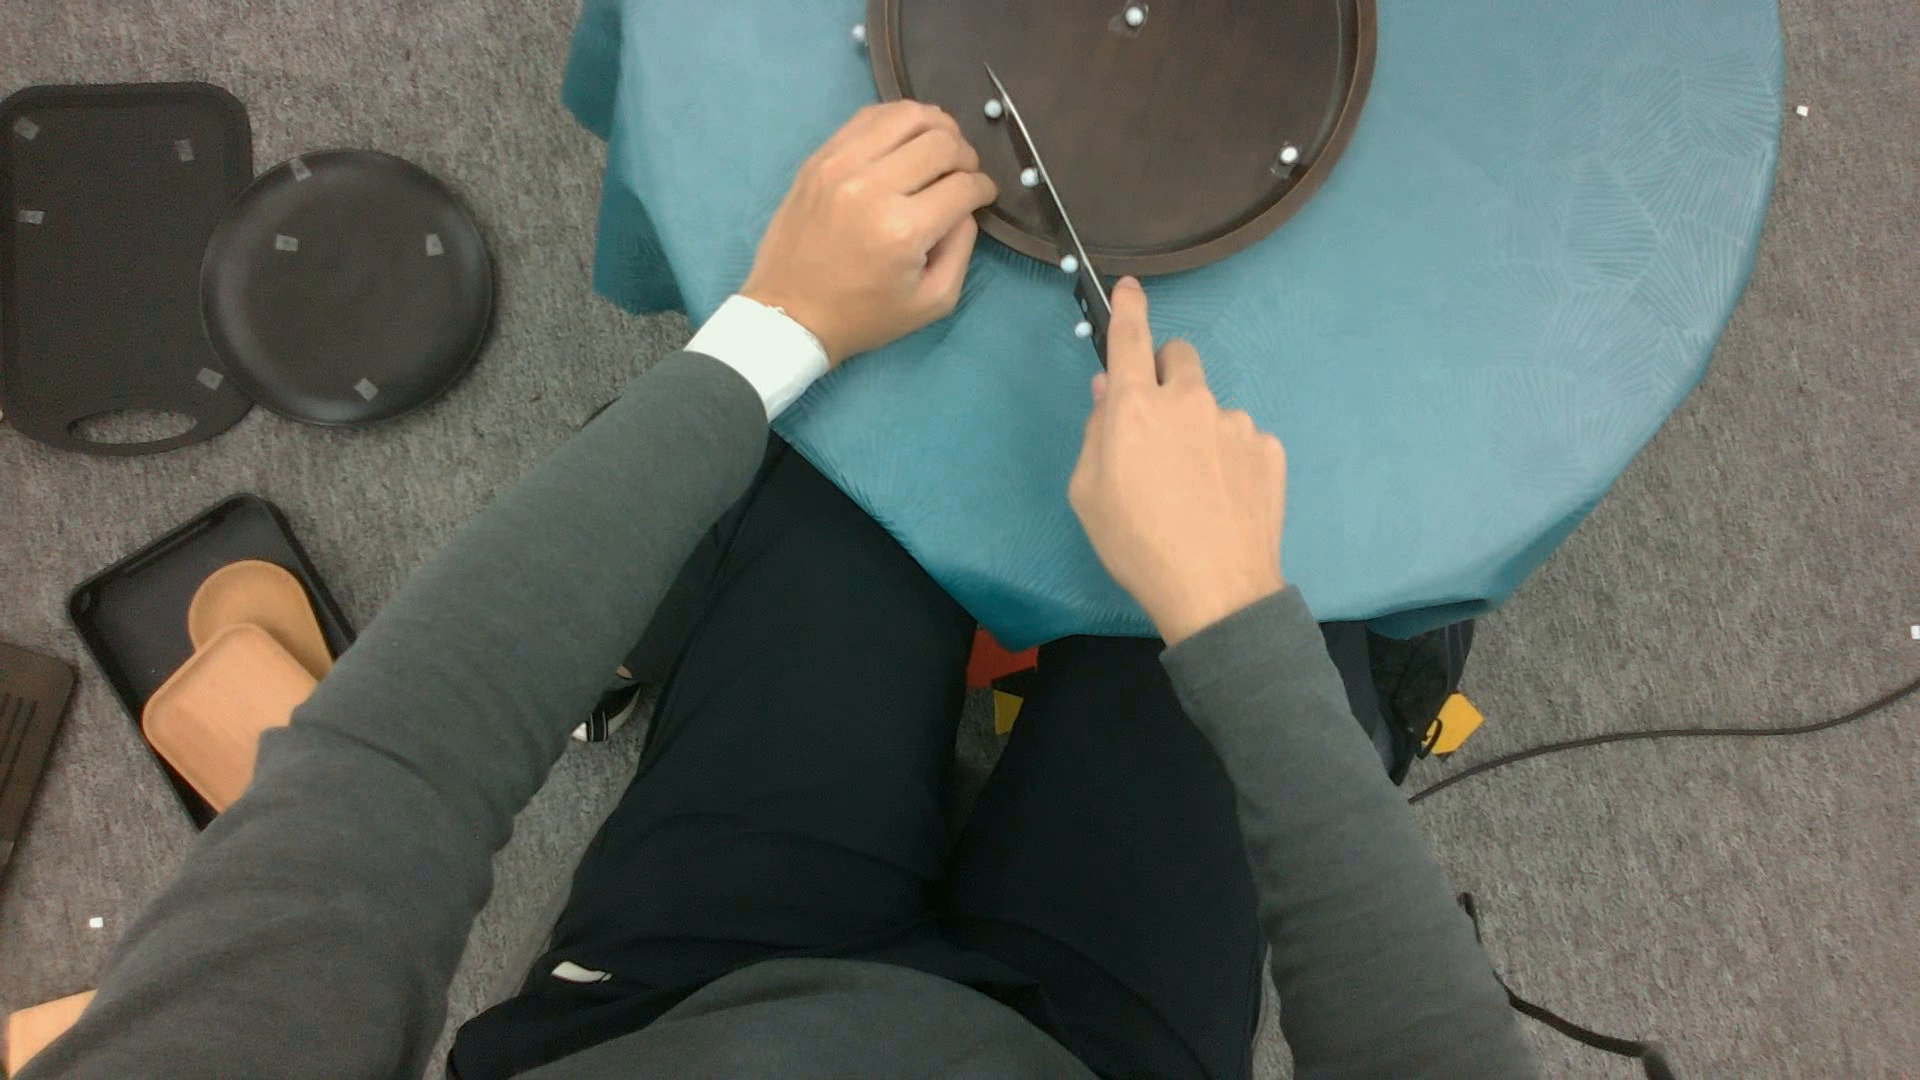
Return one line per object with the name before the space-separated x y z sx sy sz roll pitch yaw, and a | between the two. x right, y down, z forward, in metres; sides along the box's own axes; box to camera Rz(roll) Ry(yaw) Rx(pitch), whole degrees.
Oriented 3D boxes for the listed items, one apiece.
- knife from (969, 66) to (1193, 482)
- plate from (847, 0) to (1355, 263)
knife | 0.051 -0.132 0.642 0.016 0.024 0.238 -22 72 -6
plate | 0.071 -0.261 0.686 0.255 0.029 0.255 0 85 -5
